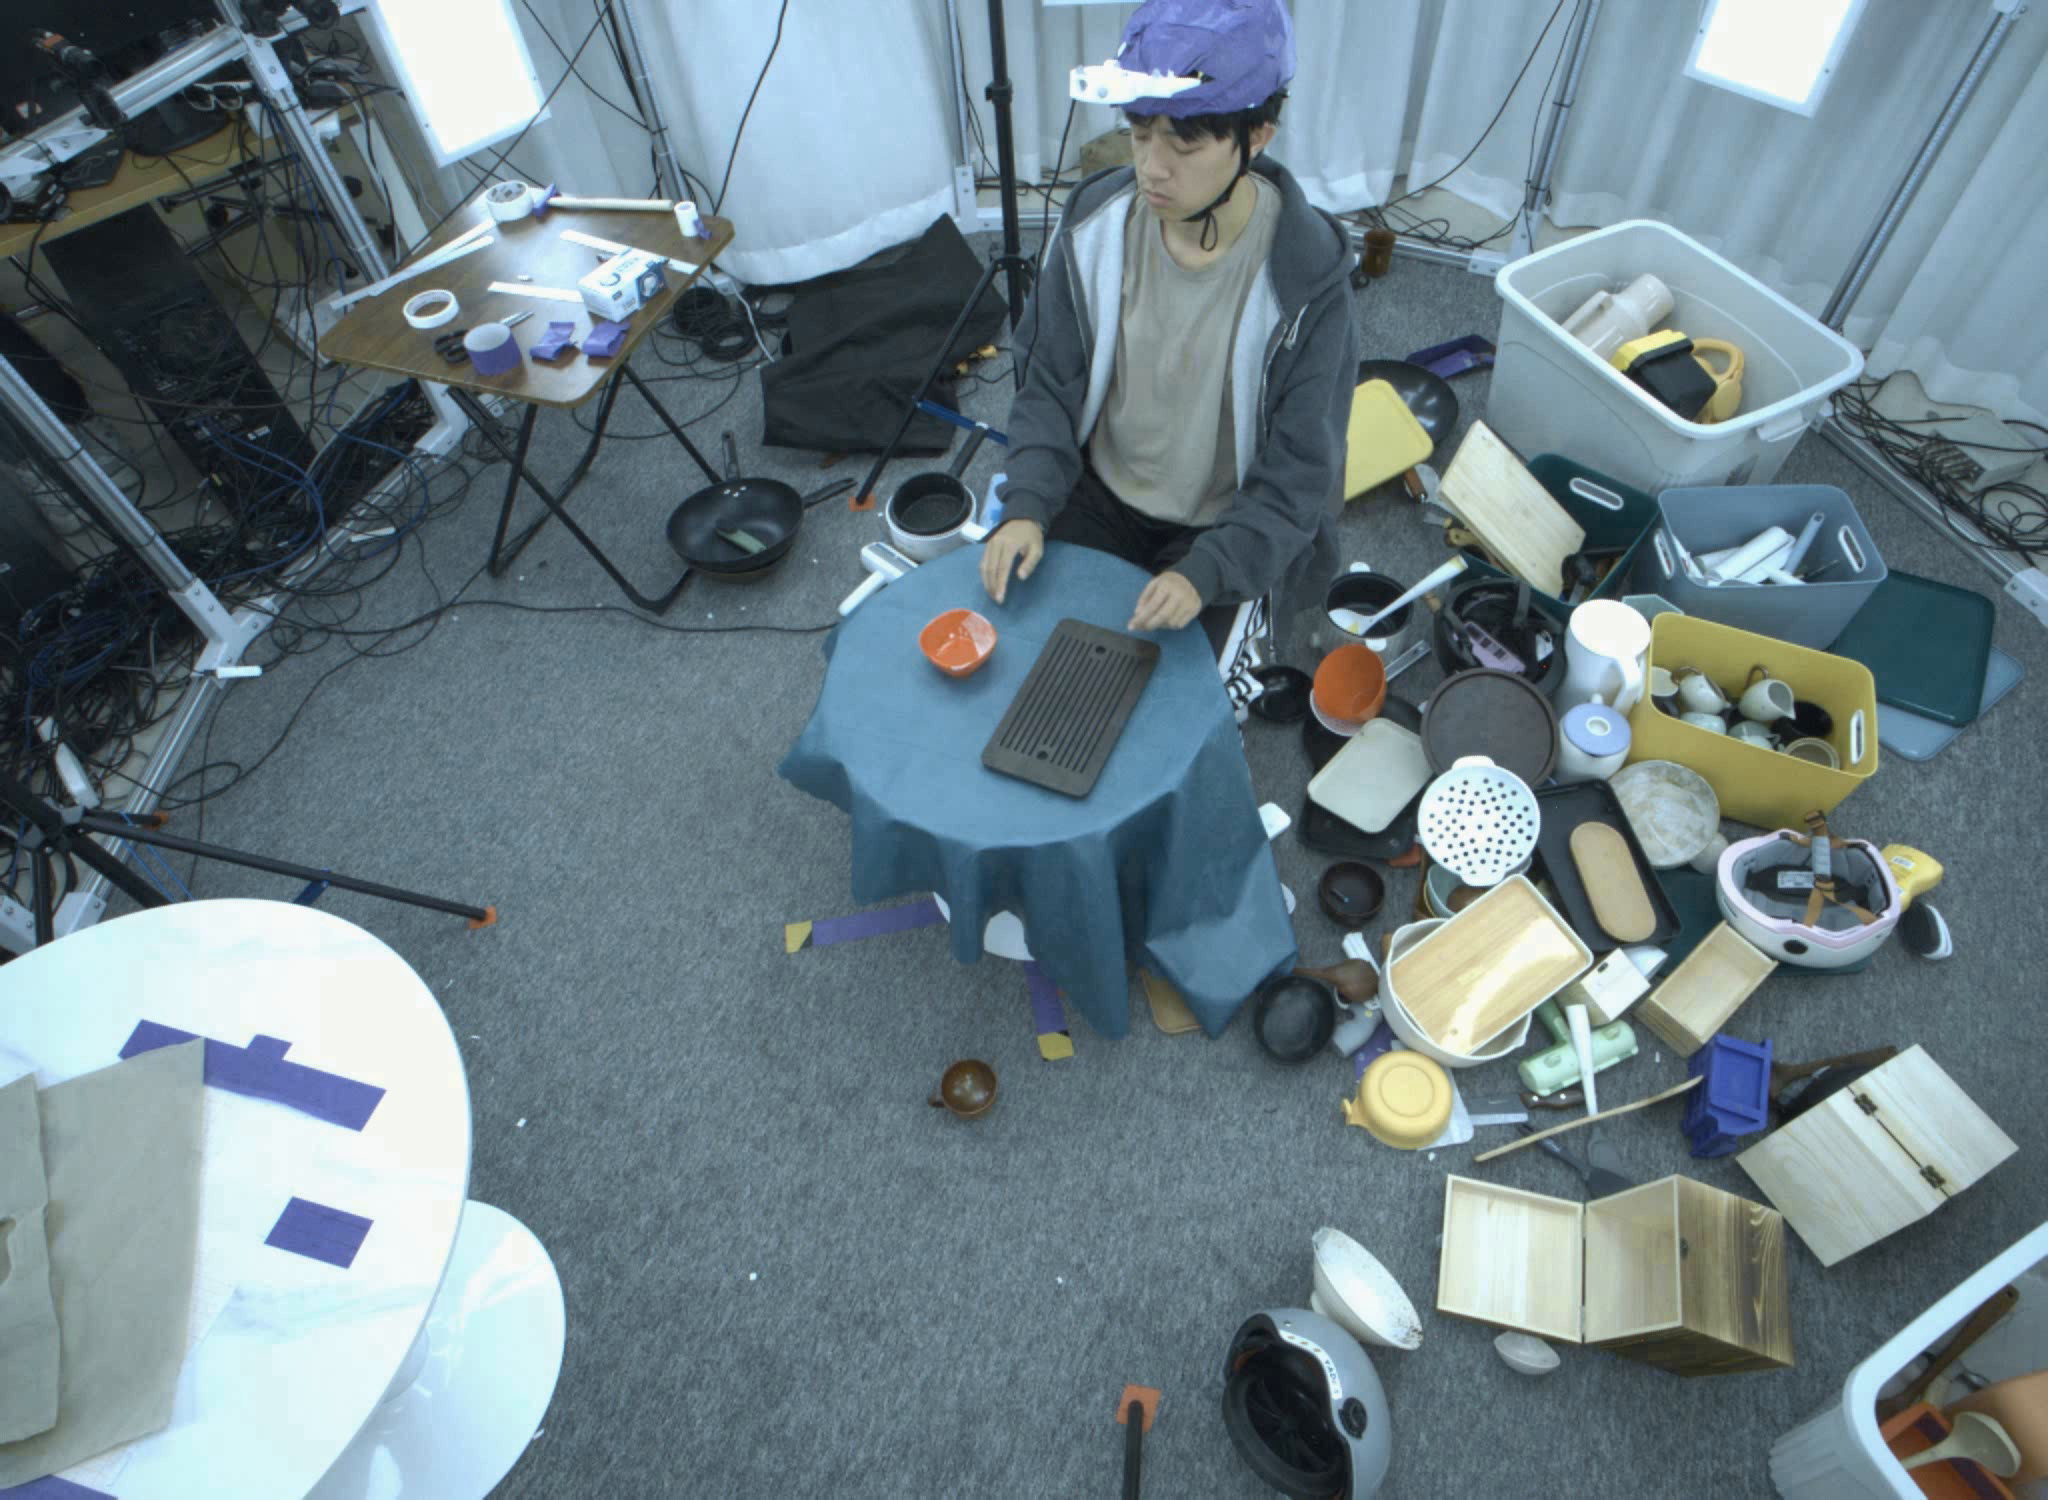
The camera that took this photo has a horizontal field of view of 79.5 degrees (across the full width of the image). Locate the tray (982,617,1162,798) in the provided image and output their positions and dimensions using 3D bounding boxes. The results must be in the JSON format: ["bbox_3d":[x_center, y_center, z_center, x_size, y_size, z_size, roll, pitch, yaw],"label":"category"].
[{"bbox_3d":[0.075,-0.068,1.824,0.168,0.019,0.306,19,57,15],"label":"tray"}]

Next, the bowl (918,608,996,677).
[{"bbox_3d":[-0.100,-0.157,1.871,0.119,0.052,0.118,-1,55,3],"label":"bowl"}]
